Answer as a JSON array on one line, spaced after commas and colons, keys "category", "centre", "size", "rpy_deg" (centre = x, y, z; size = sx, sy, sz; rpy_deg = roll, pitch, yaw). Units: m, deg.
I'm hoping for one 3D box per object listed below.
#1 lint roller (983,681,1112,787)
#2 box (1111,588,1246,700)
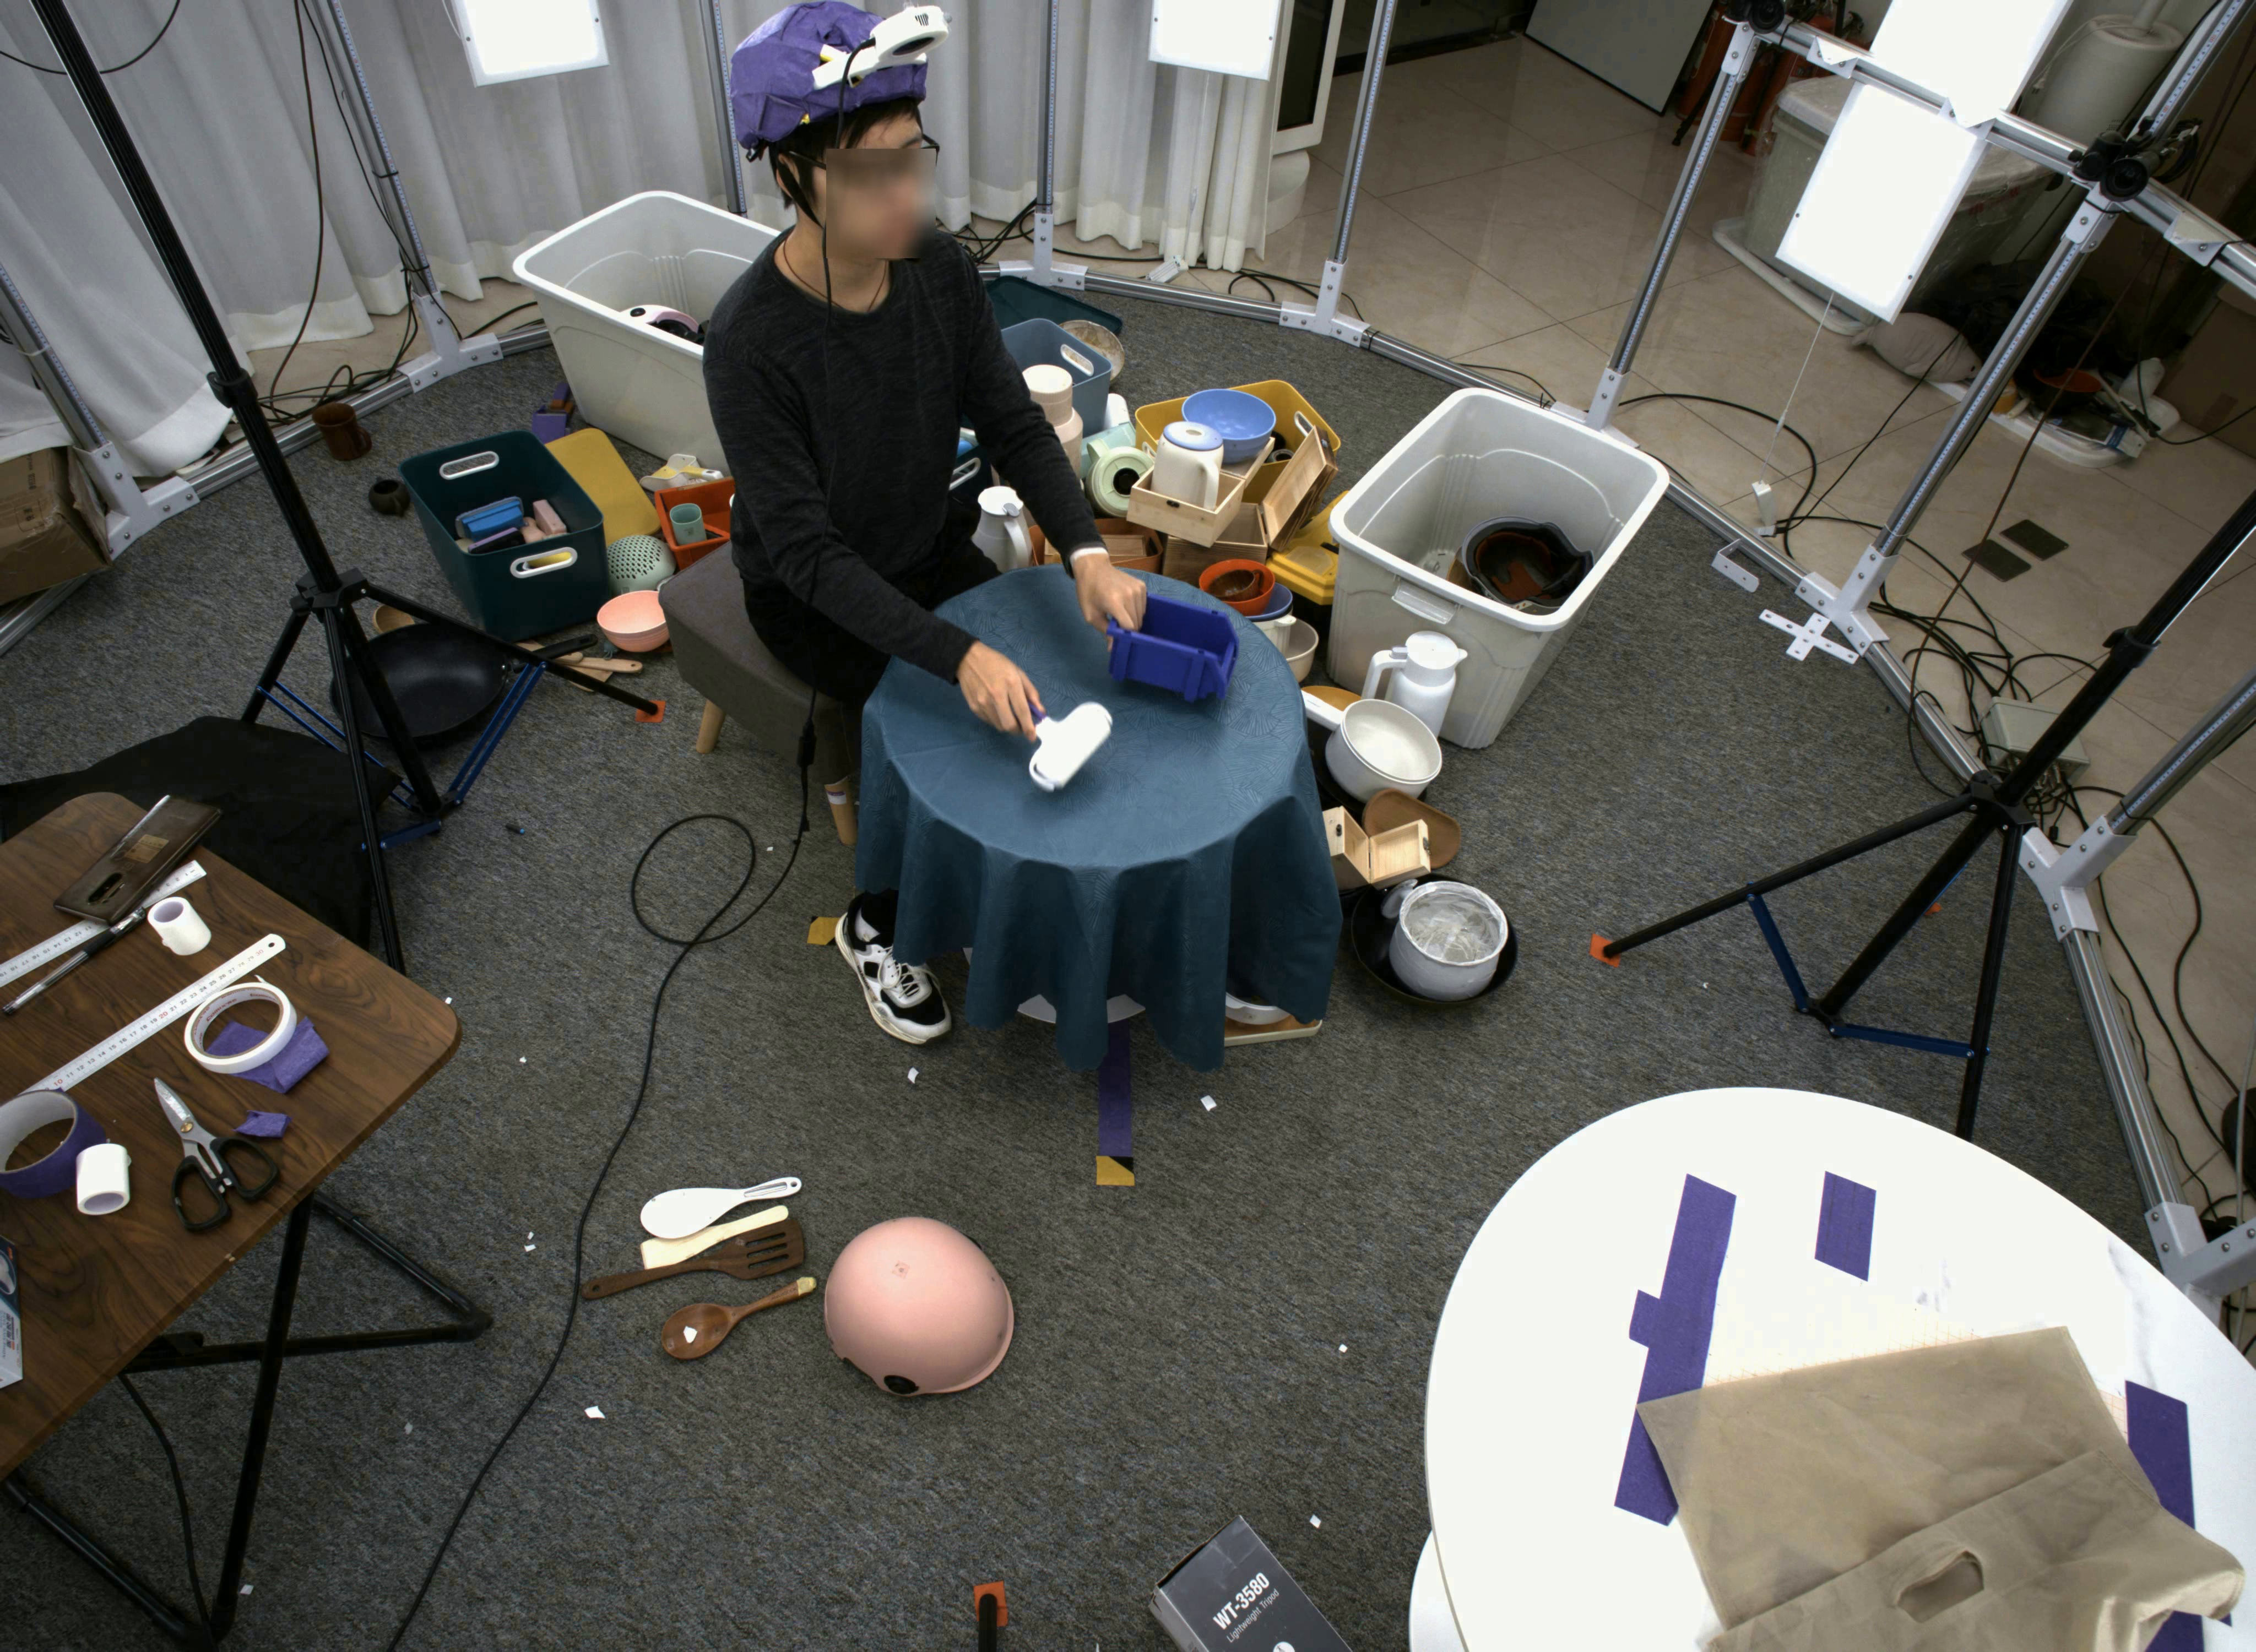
[{"category": "lint roller", "centre": [-0.121, -0.146, 1.698], "size": [0.182, 0.049, 0.134], "rpy_deg": [38, 75, 15]}, {"category": "box", "centre": [0.074, -0.254, 1.809], "size": [0.180, 0.080, 0.127], "rpy_deg": [14, 39, 8]}]
